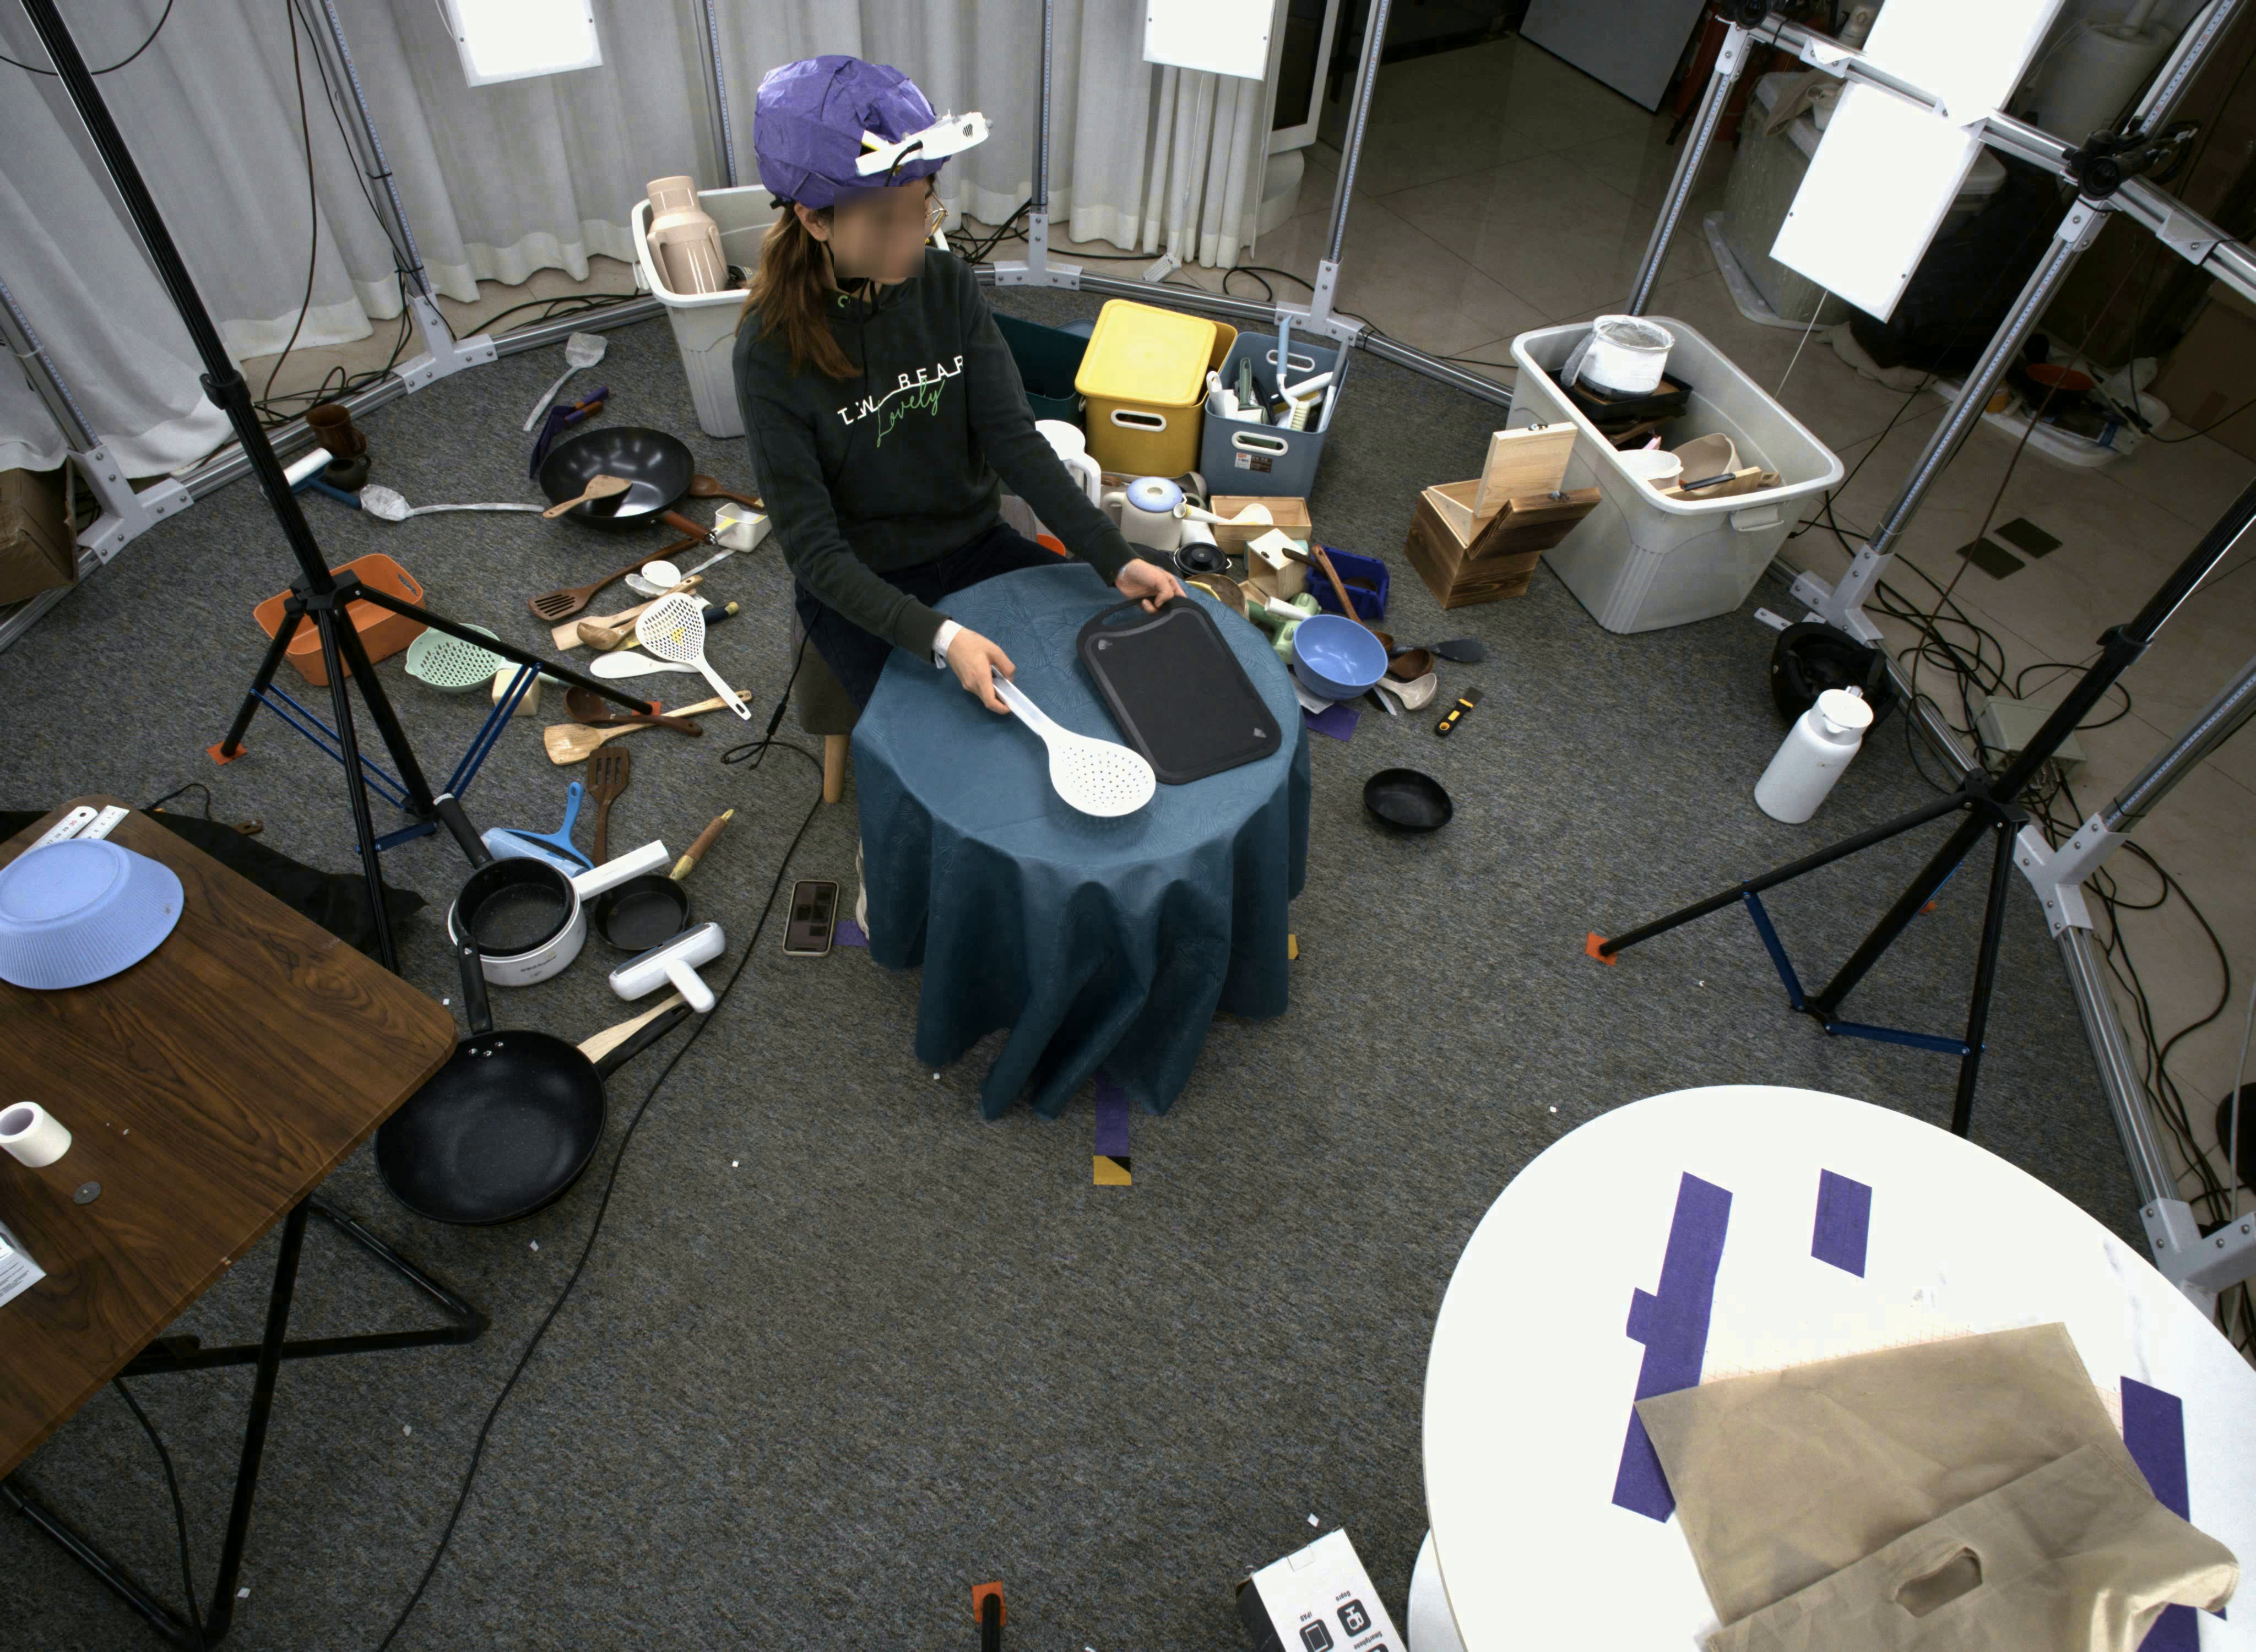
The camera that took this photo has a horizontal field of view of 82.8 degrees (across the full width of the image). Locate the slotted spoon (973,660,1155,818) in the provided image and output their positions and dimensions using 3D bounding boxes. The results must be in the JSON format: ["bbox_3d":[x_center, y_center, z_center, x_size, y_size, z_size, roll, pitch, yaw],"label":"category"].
[{"bbox_3d":[-0.101,-0.123,1.742,0.137,0.045,0.355,-26,59,-31],"label":"slotted spoon"}]

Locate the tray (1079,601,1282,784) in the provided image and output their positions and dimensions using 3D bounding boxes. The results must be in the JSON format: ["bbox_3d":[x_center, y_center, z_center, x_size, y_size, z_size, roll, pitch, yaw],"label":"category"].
[{"bbox_3d":[0.068,-0.202,1.837,0.211,0.009,0.332,-19,58,-16],"label":"tray"}]
